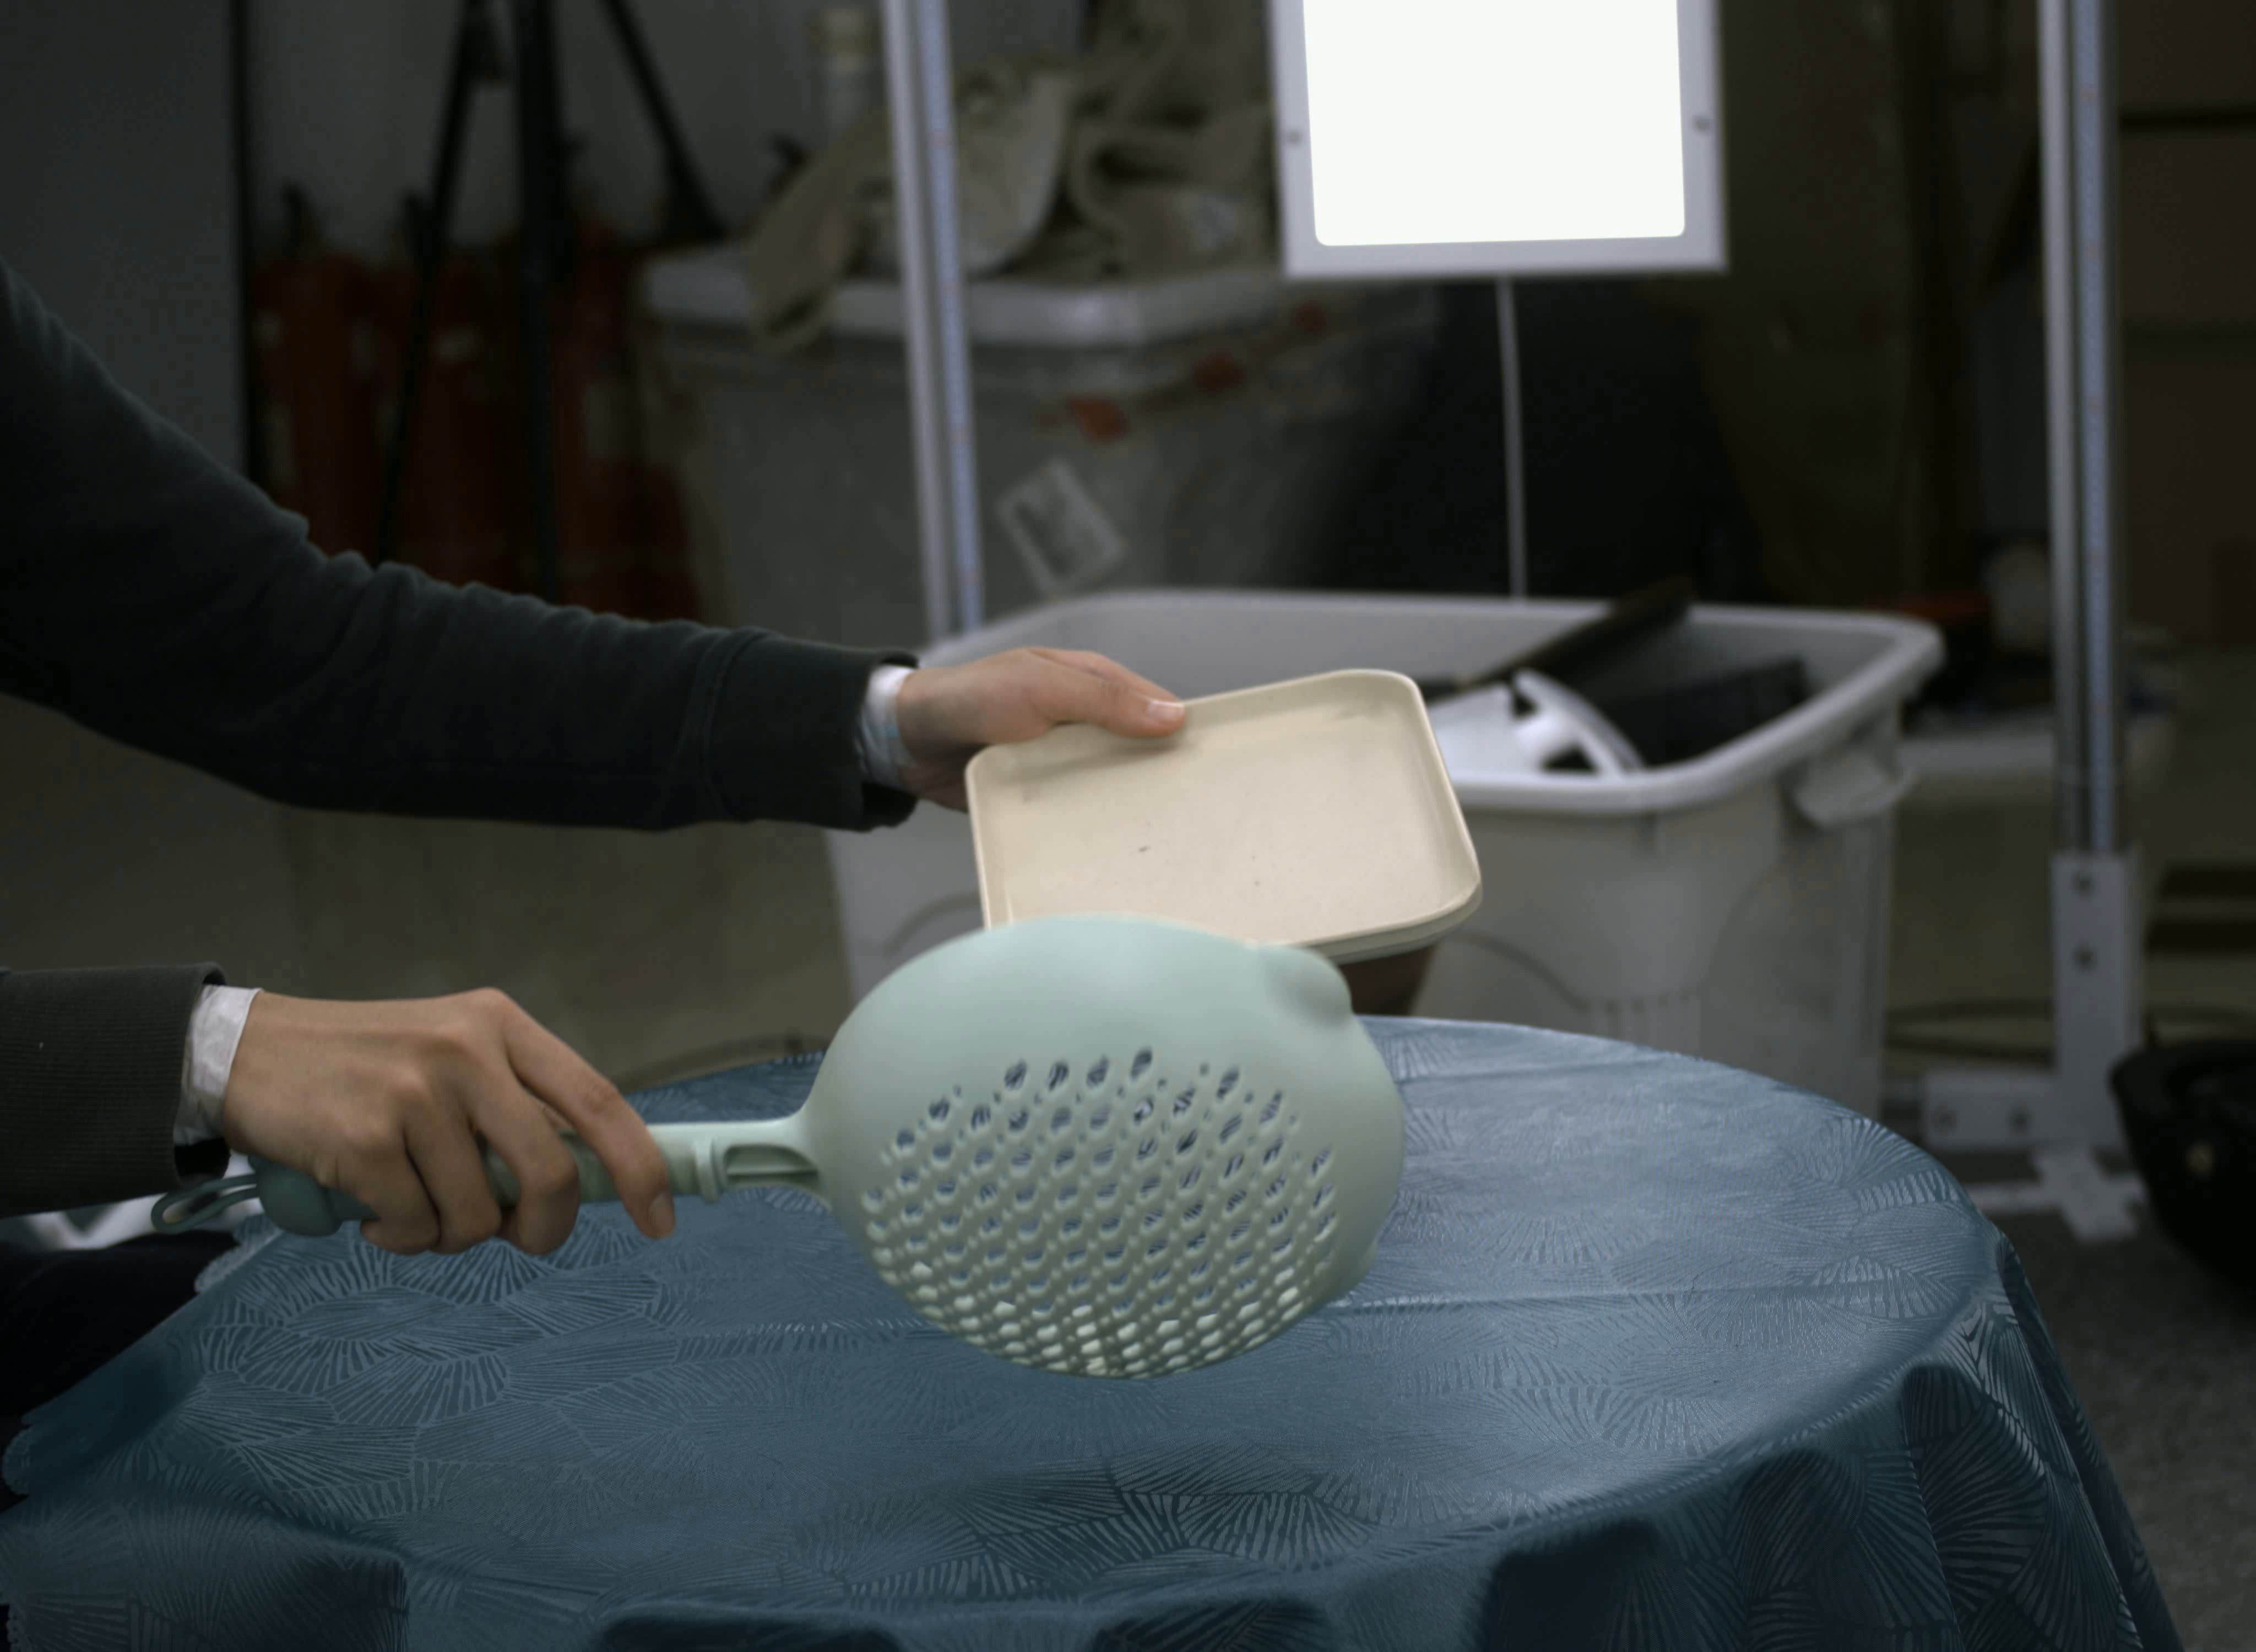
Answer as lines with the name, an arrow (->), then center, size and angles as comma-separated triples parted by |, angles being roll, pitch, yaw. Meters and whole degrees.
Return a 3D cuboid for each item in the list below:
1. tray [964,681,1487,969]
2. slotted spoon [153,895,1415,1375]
tray -> 0.031, 0.006, 1.924 | 0.171, 0.017, 0.239 | -11, 21, 1
slotted spoon -> -0.100, 0.098, 1.579 | 0.362, 0.170, 0.074 | 2, 39, 14
